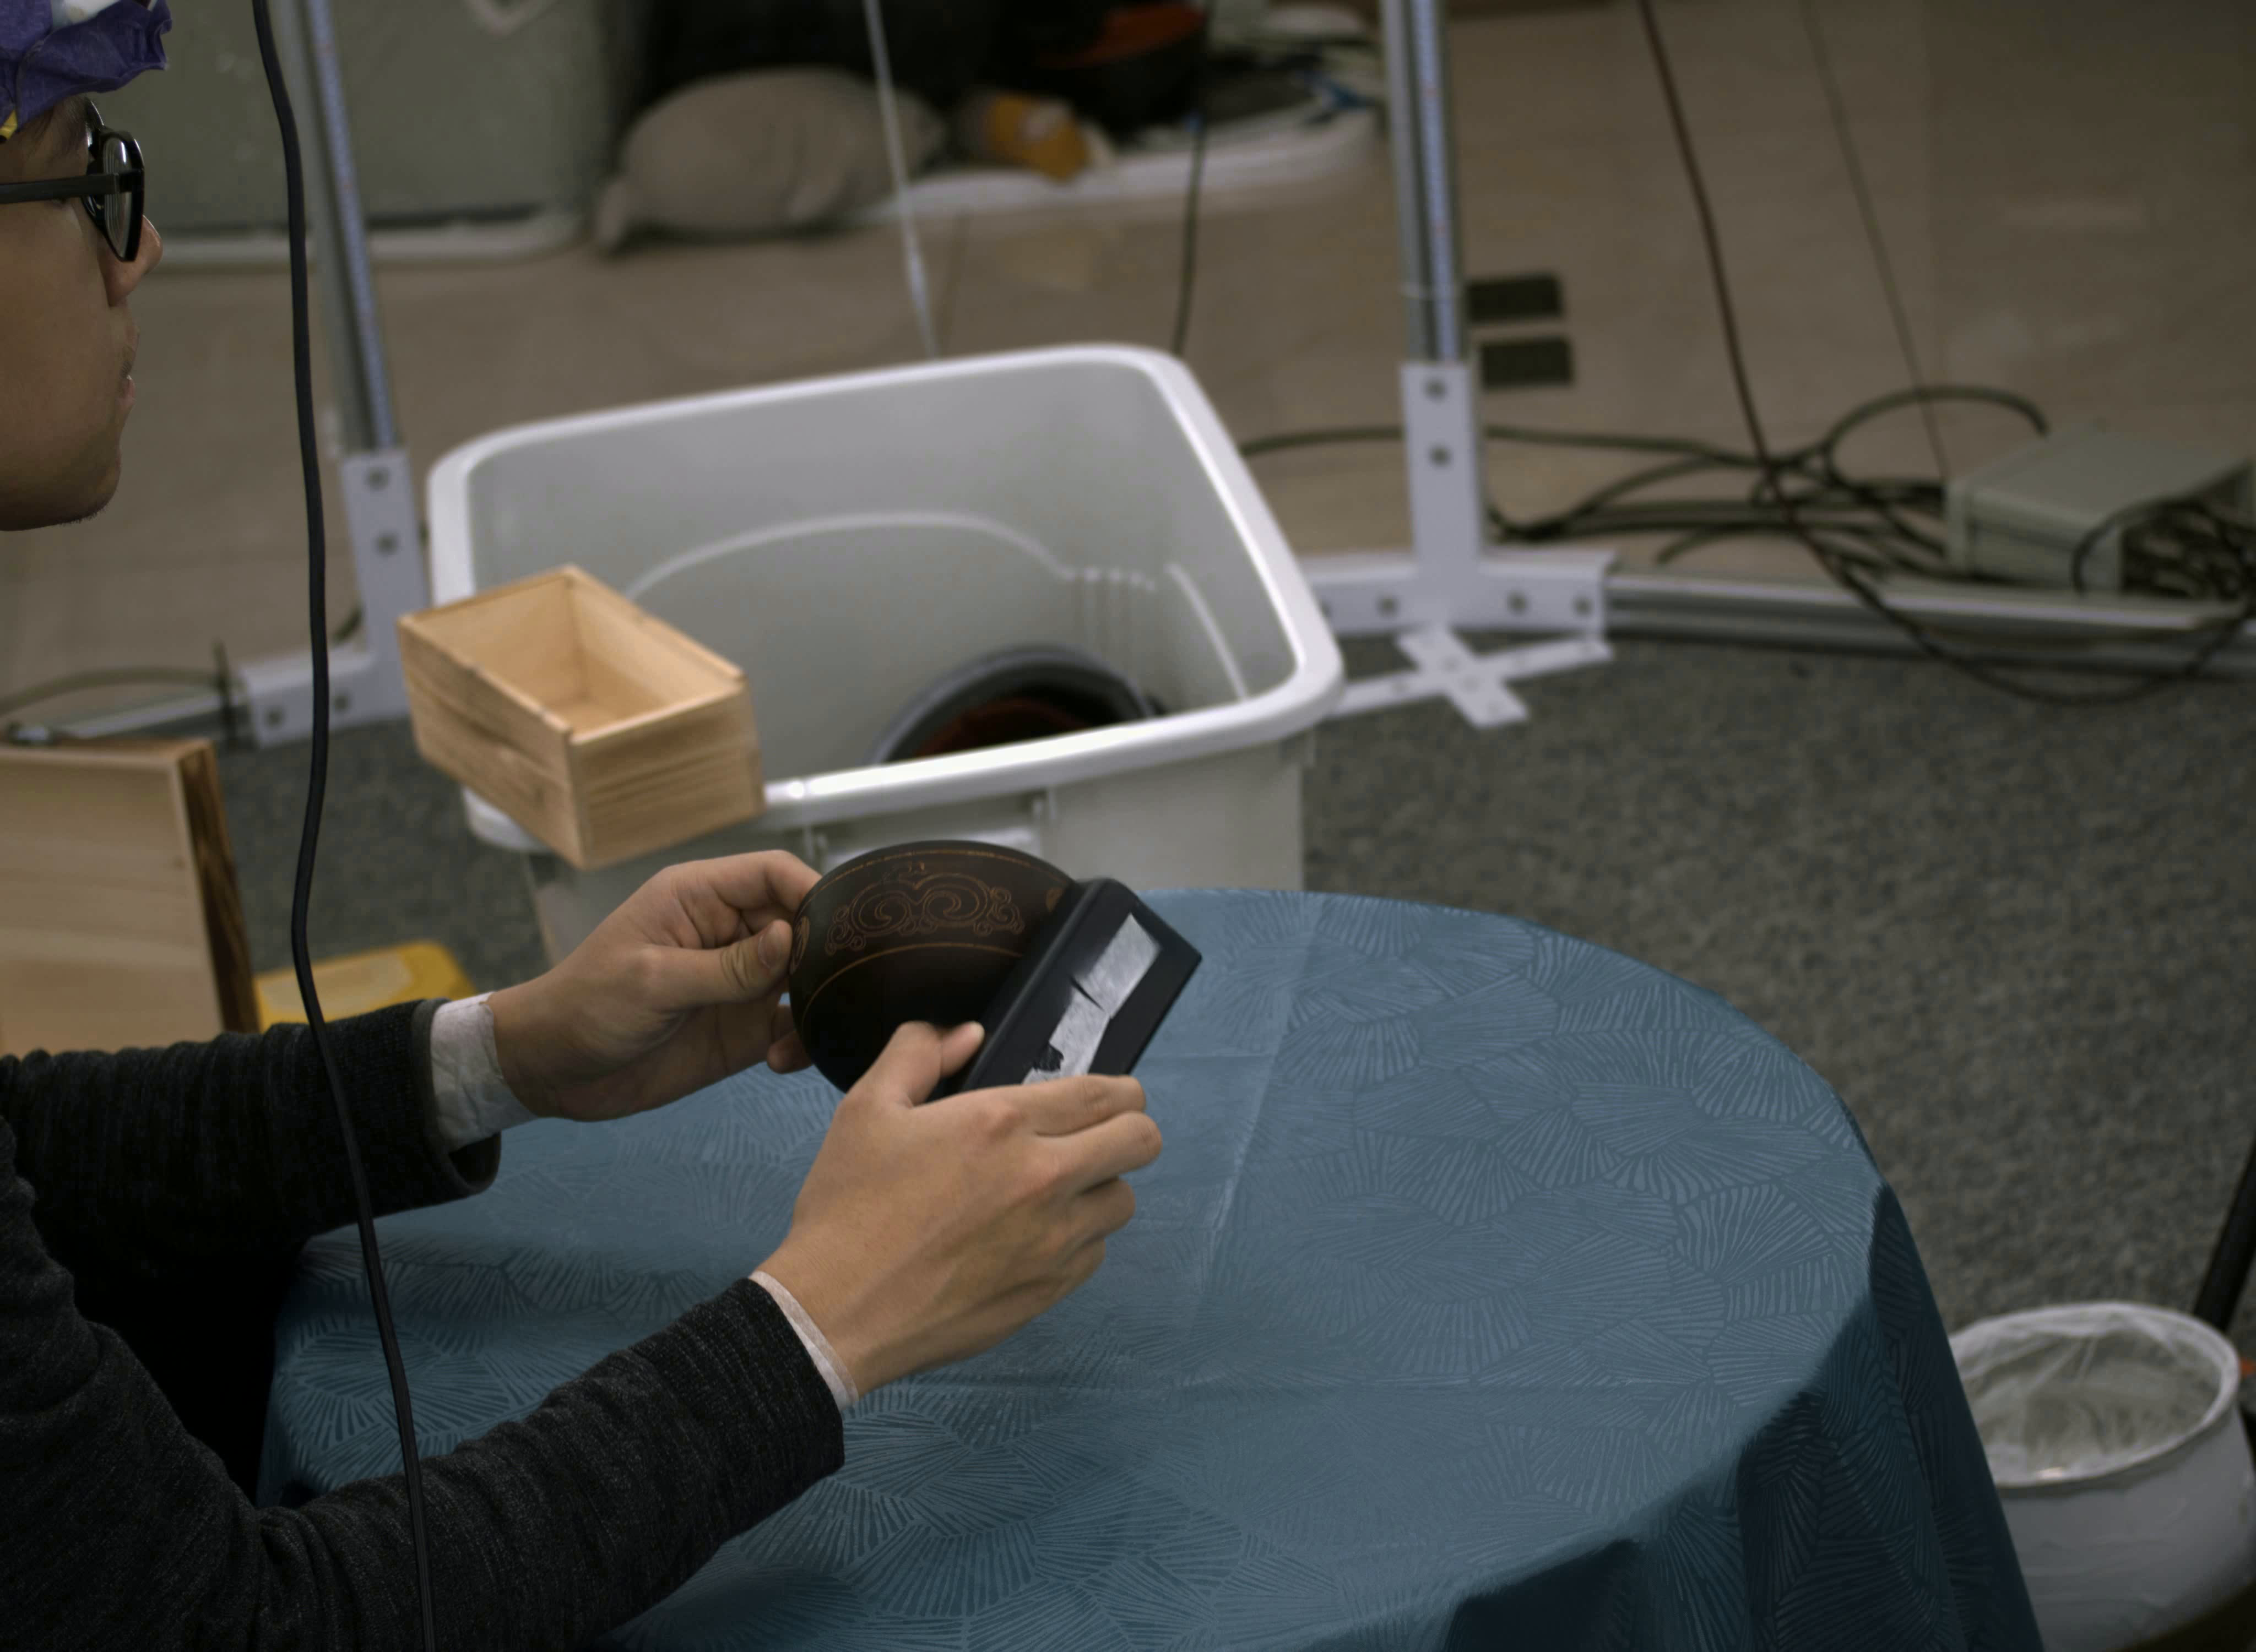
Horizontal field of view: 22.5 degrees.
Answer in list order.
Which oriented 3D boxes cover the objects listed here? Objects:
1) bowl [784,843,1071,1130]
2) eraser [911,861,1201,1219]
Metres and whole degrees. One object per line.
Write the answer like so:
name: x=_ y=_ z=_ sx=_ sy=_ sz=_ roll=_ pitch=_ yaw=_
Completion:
bowl: x=-0.066 y=0.067 z=2.051 sx=0.118 sy=0.120 sz=0.068 roll=-5 pitch=53 yaw=3
eraser: x=-0.025 y=0.074 z=1.991 sx=0.031 sy=0.054 sz=0.124 roll=-31 pitch=24 yaw=57
